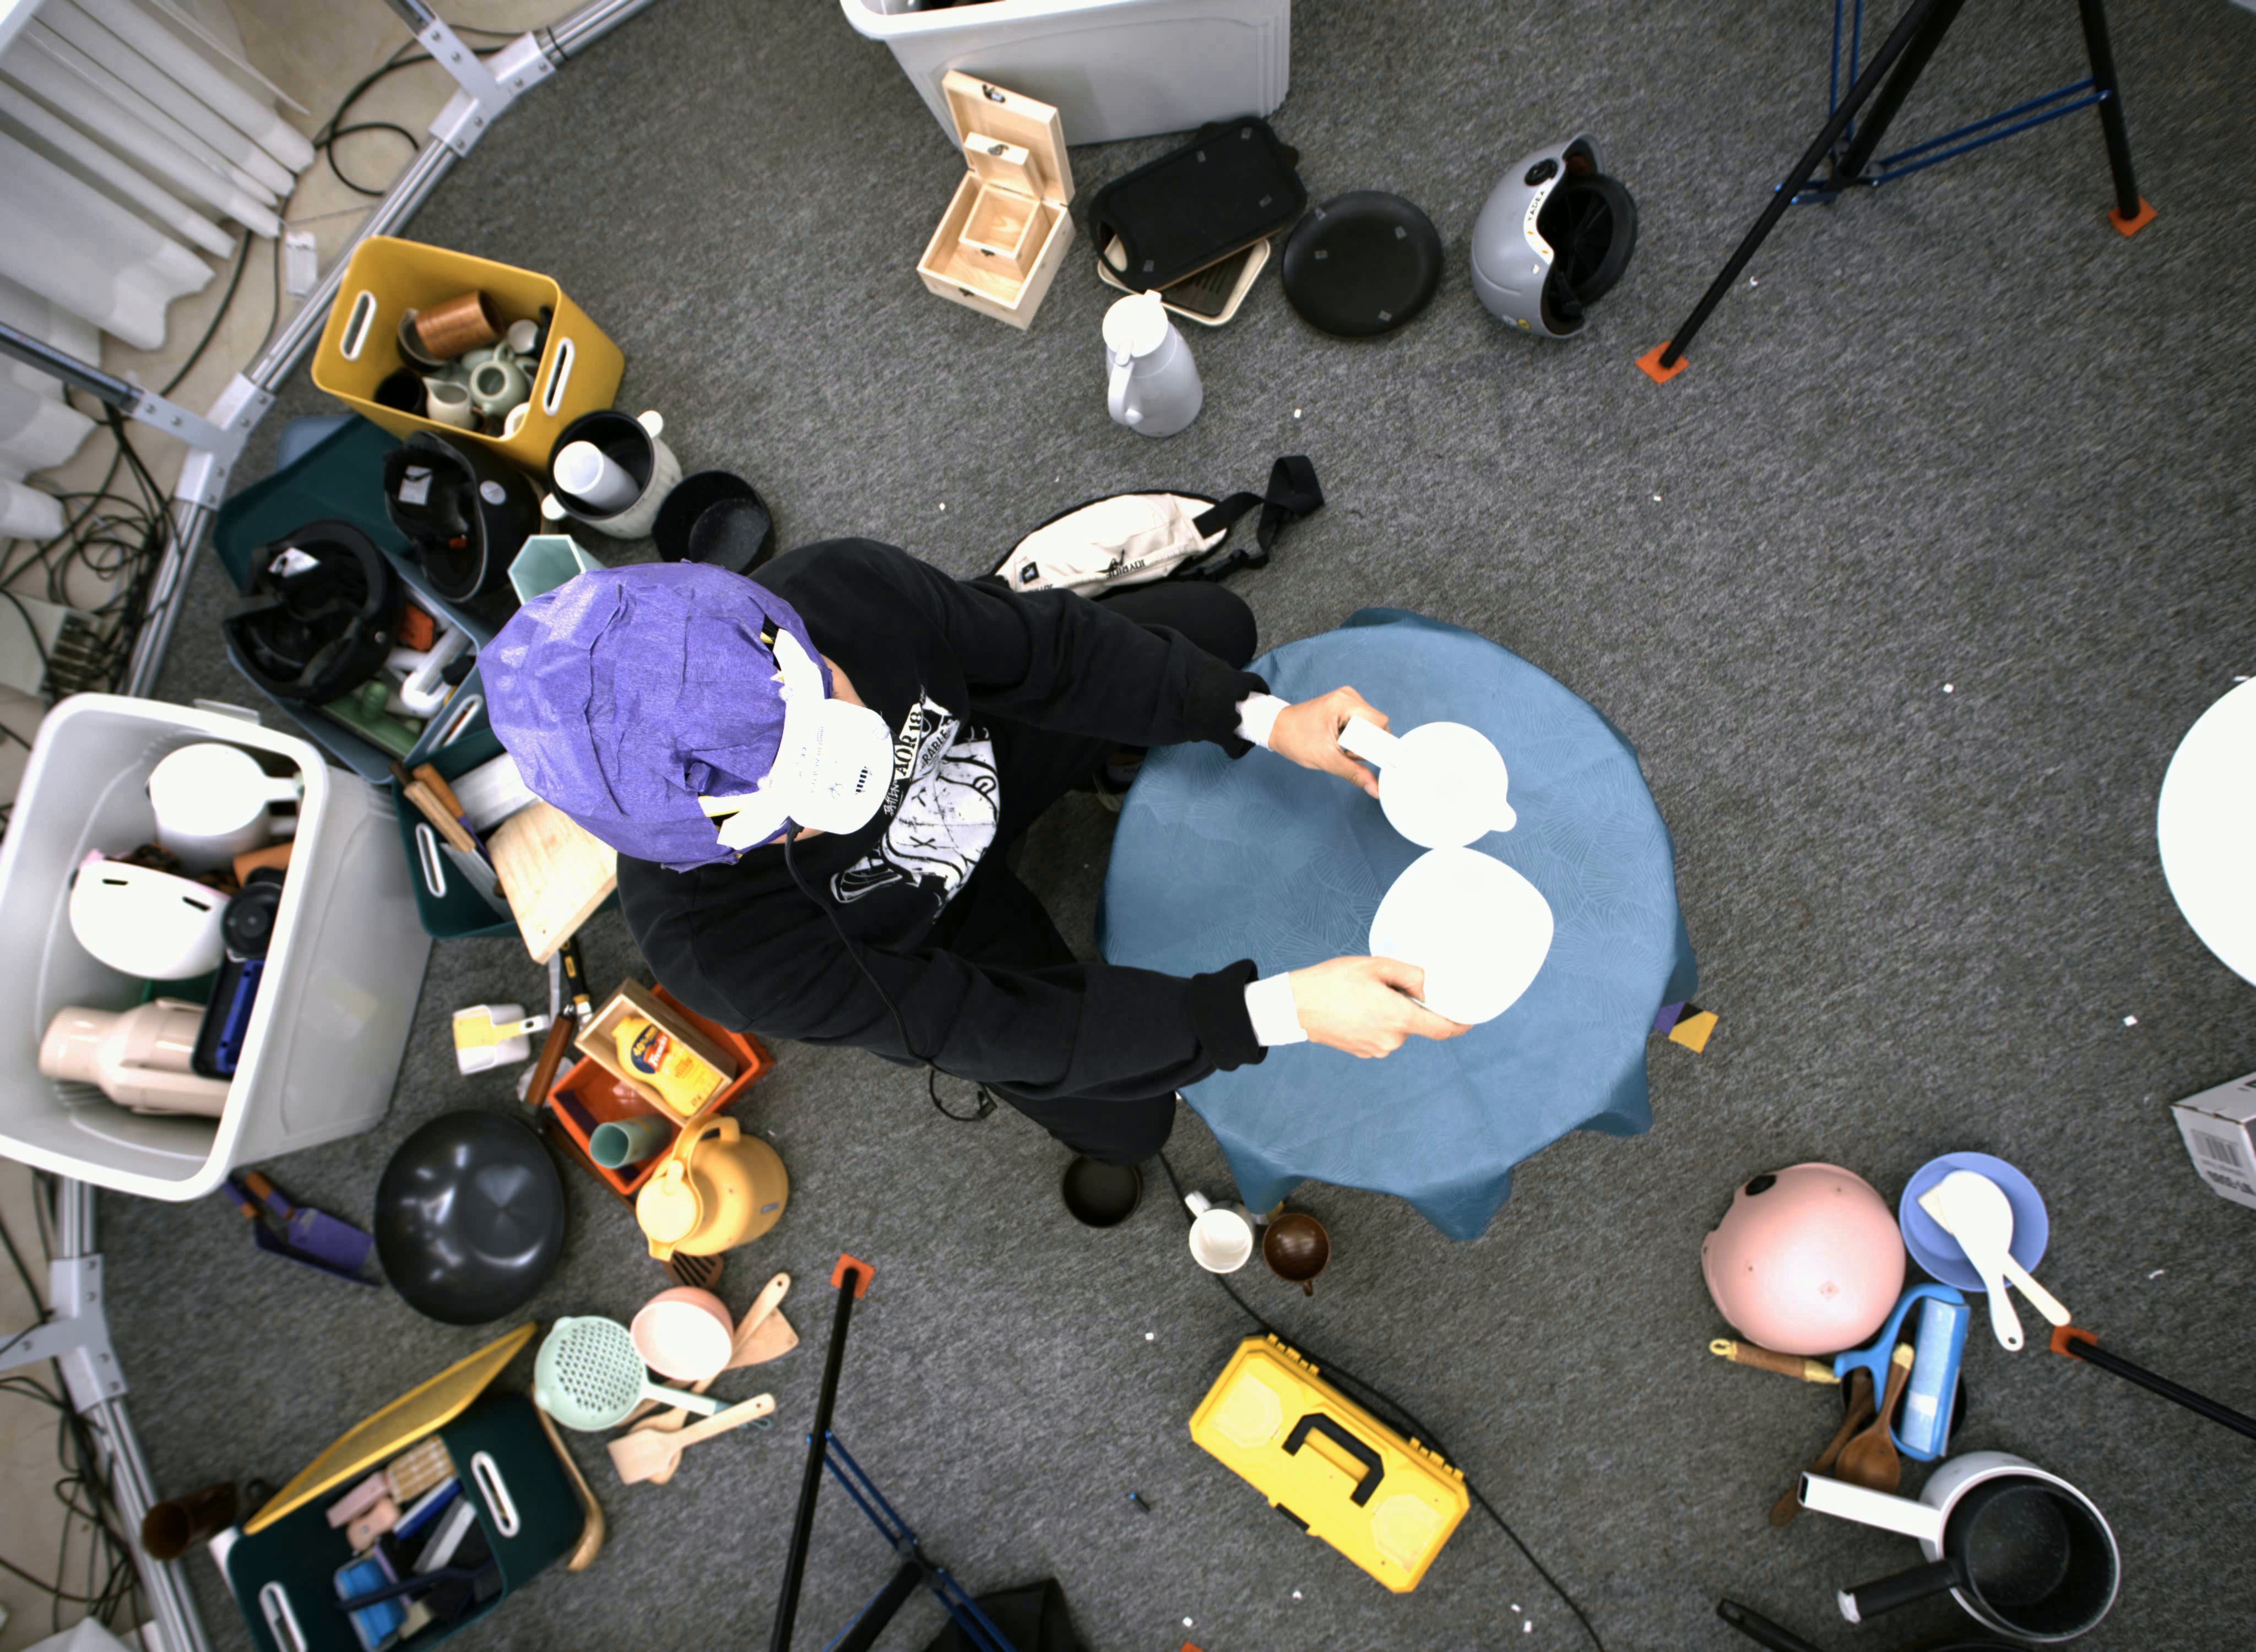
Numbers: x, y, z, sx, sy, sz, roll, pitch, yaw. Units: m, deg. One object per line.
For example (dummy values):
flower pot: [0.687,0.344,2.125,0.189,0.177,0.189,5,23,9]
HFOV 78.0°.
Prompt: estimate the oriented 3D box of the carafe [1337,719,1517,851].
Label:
carafe: [0.283,-0.047,1.323,0.172,0.267,0.125,29,99,8]

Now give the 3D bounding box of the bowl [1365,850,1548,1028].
bowl: [0.279,0.099,1.174,0.152,0.059,0.149,-4,76,12]
